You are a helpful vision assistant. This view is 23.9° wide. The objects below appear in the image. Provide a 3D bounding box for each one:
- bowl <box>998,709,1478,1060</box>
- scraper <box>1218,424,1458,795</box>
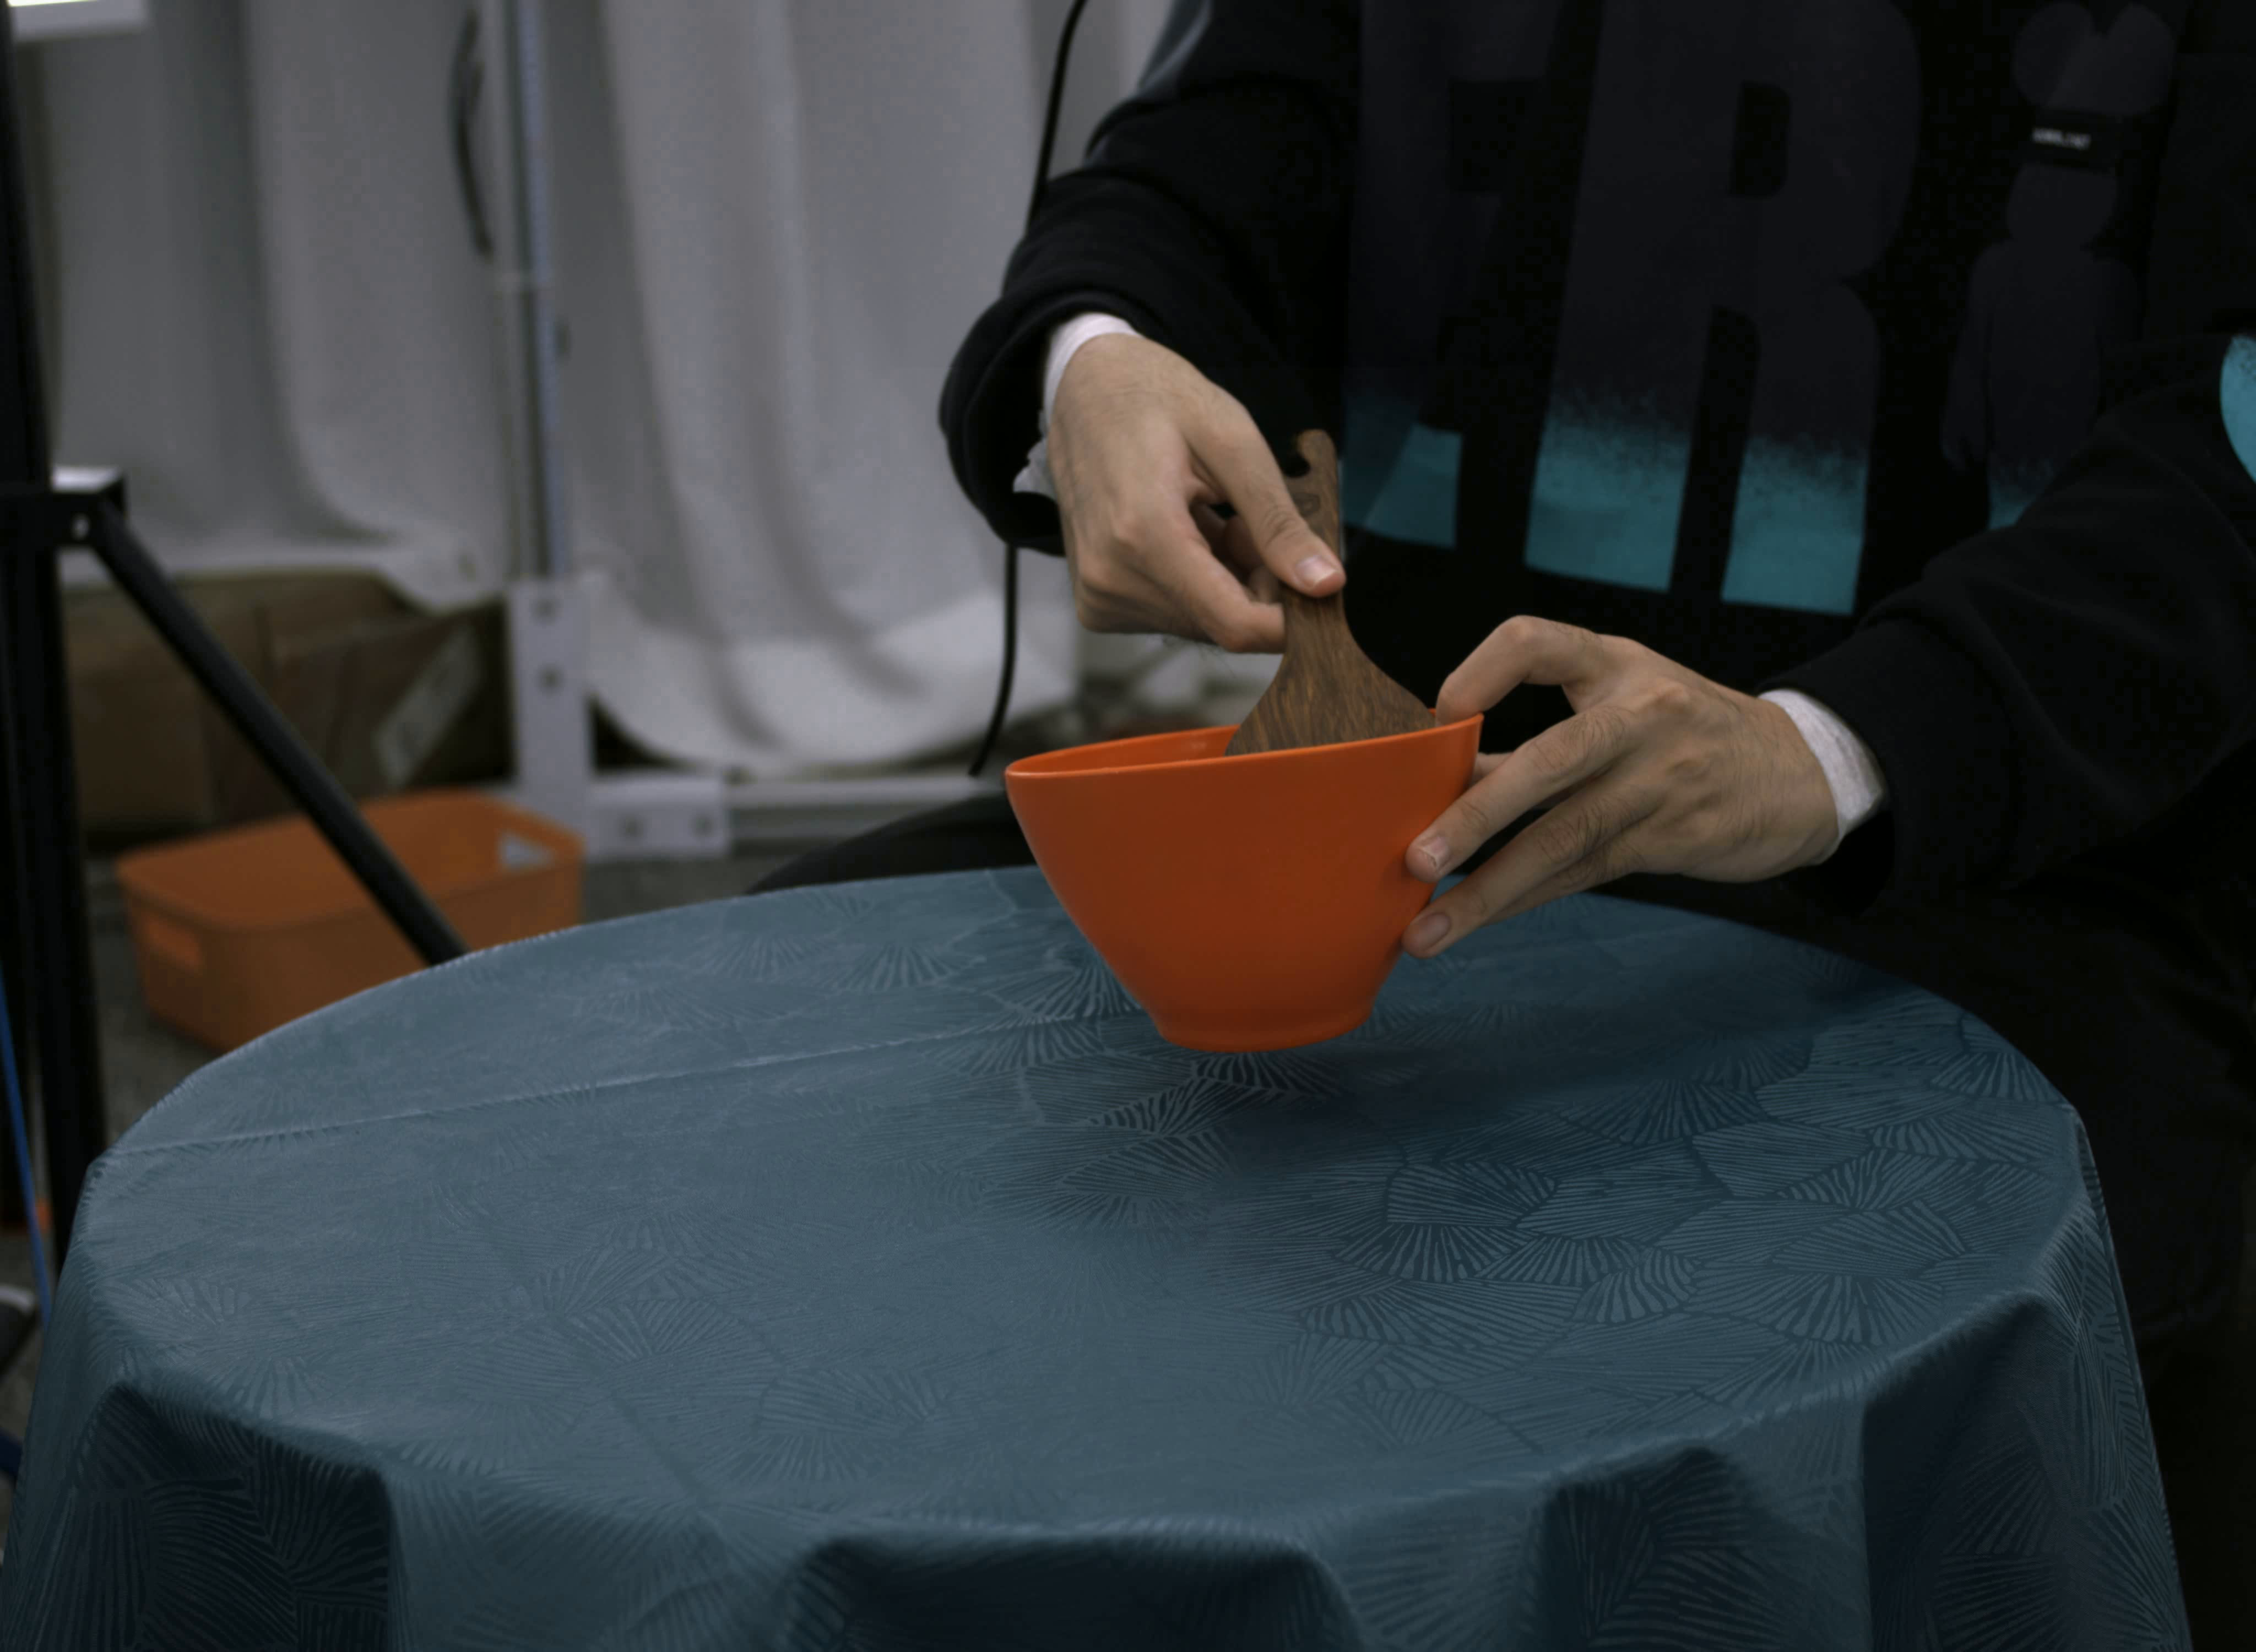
[{"bbox_3d":[0.038,0.015,1.618,0.147,0.104,0.148,-7,12,0],"label":"bowl"},{"bbox_3d":[0.059,-0.063,1.688,0.076,0.011,0.213,-10,39,5],"label":"scraper"}]
